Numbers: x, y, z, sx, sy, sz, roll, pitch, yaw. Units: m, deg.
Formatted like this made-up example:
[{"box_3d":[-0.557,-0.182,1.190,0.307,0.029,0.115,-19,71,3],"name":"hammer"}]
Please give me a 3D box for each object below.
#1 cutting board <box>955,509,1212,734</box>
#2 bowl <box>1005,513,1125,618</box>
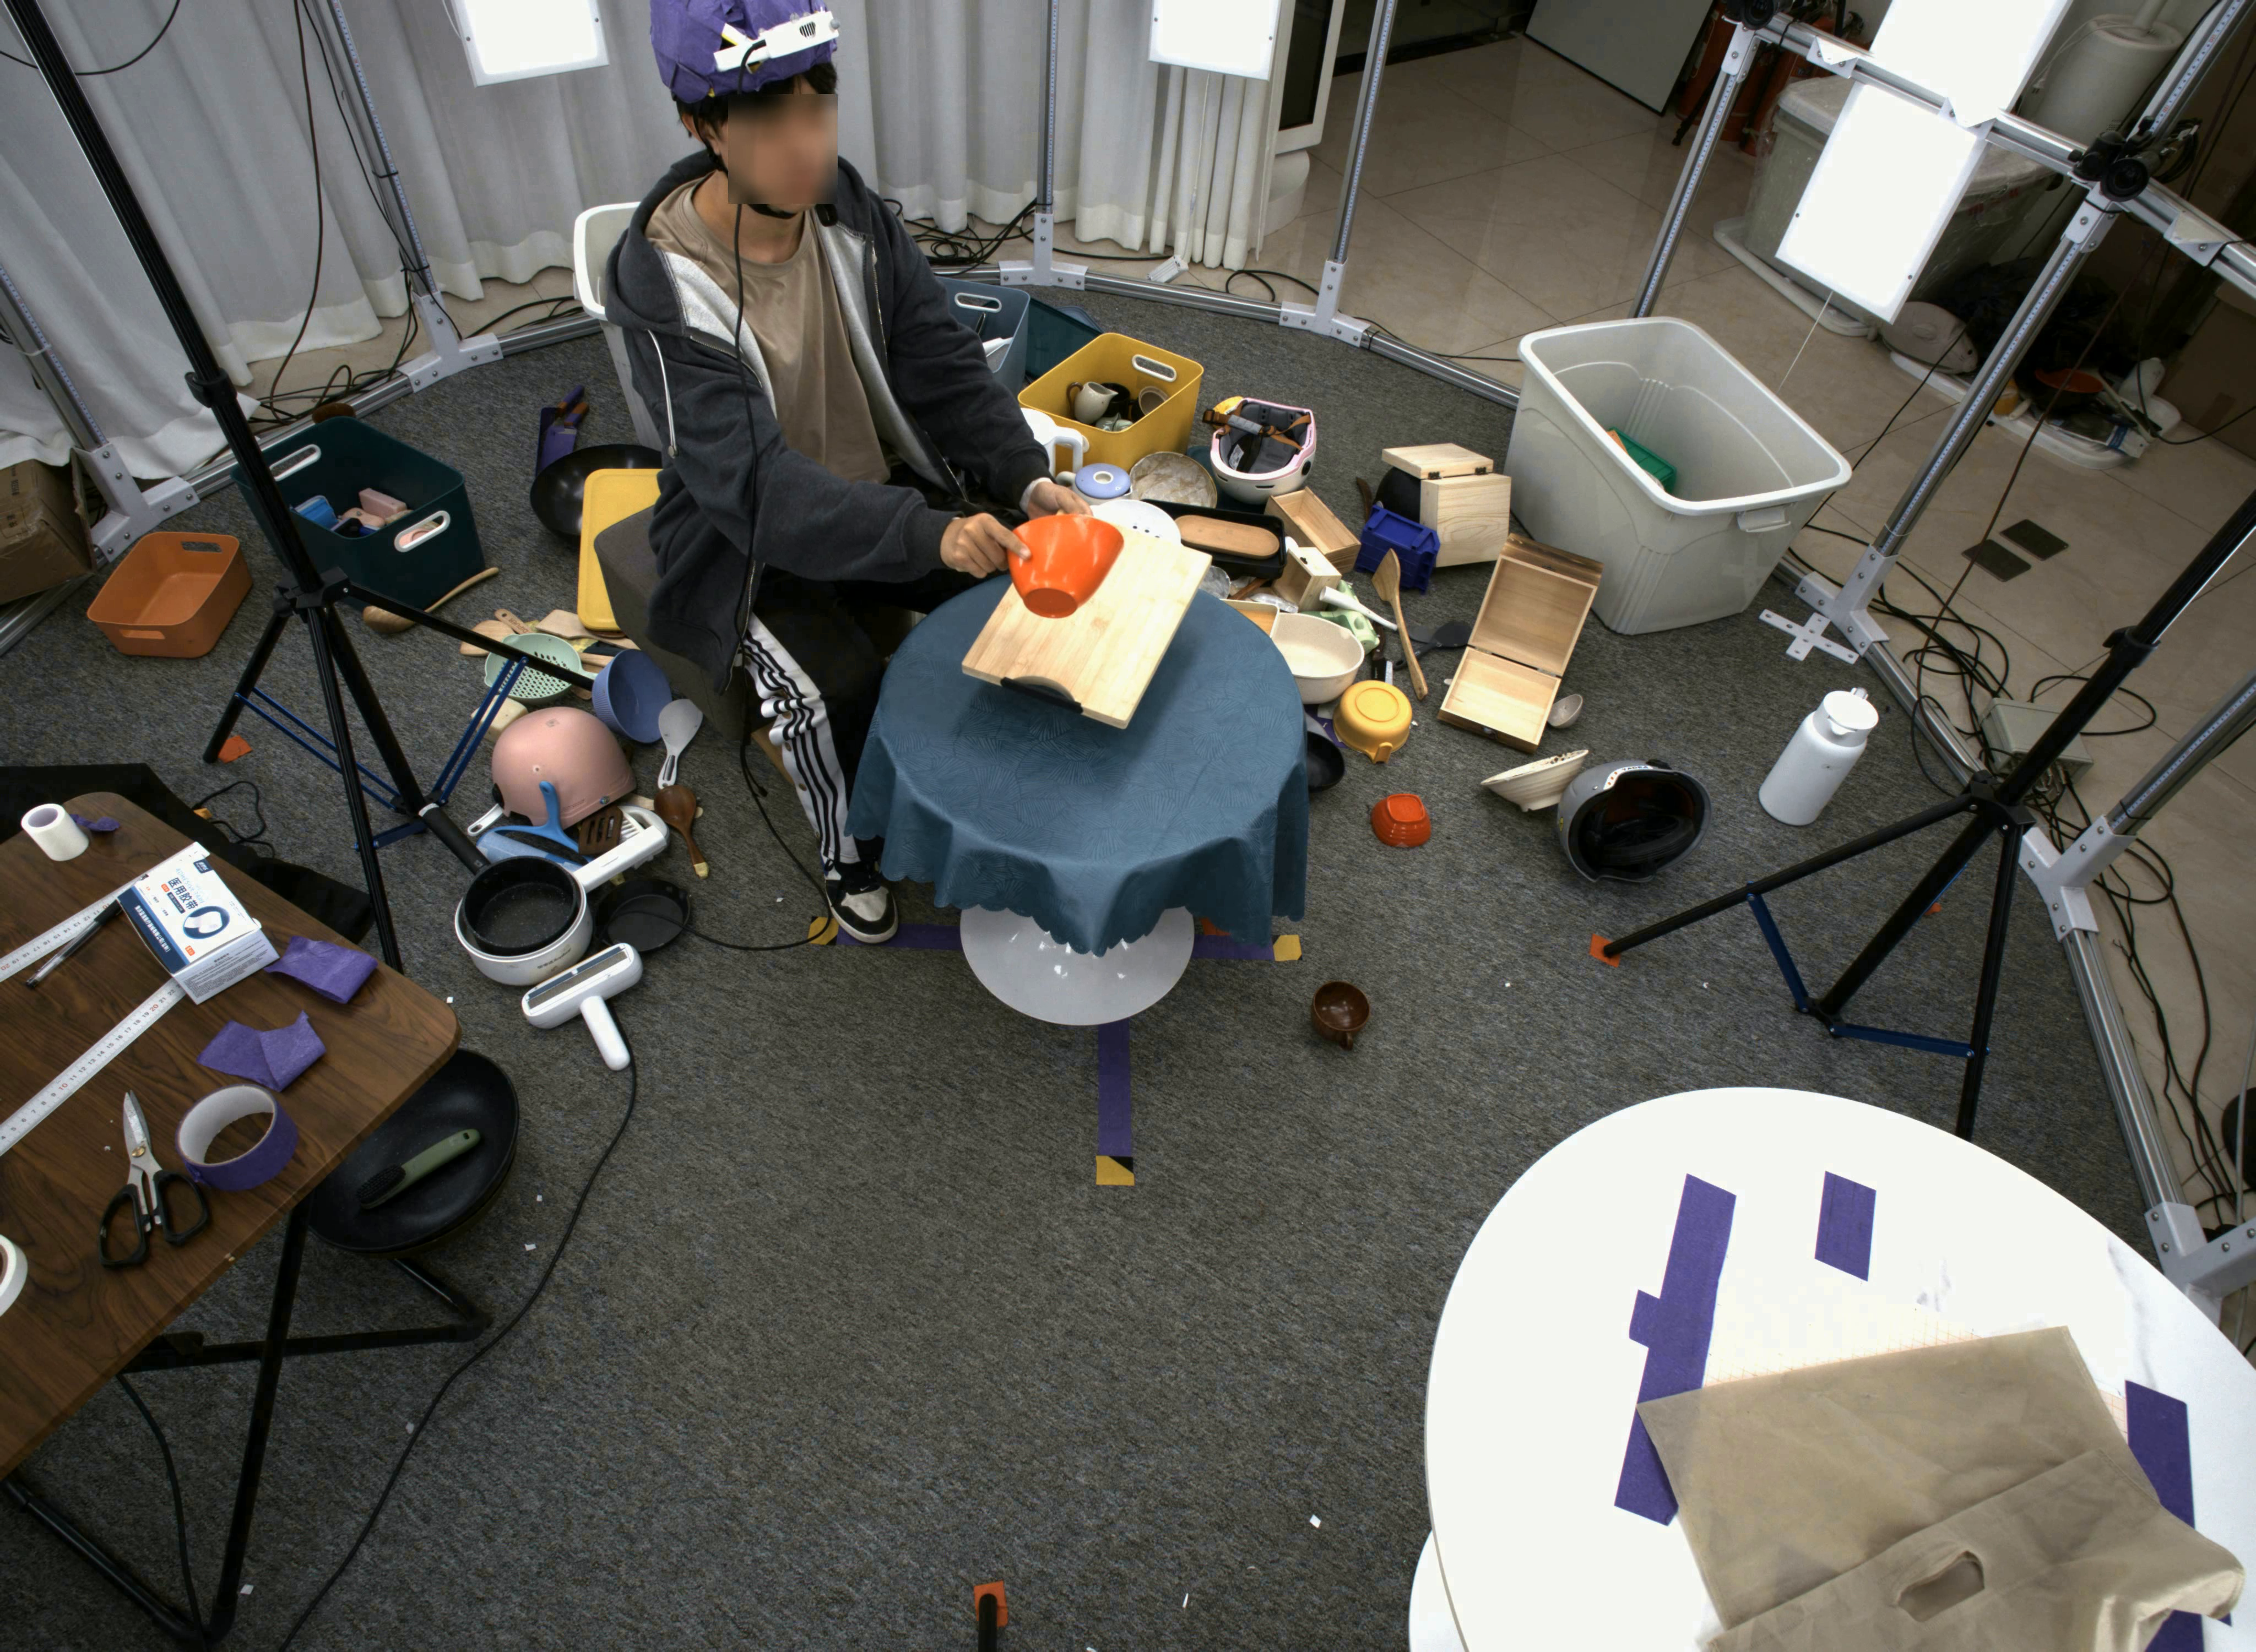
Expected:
[{"box_3d":[-0.054,-0.295,1.798,0.252,0.023,0.355,19,55,11],"name":"cutting board"},{"box_3d":[-0.082,-0.312,1.584,0.148,0.145,0.106,6,65,0],"name":"bowl"}]
